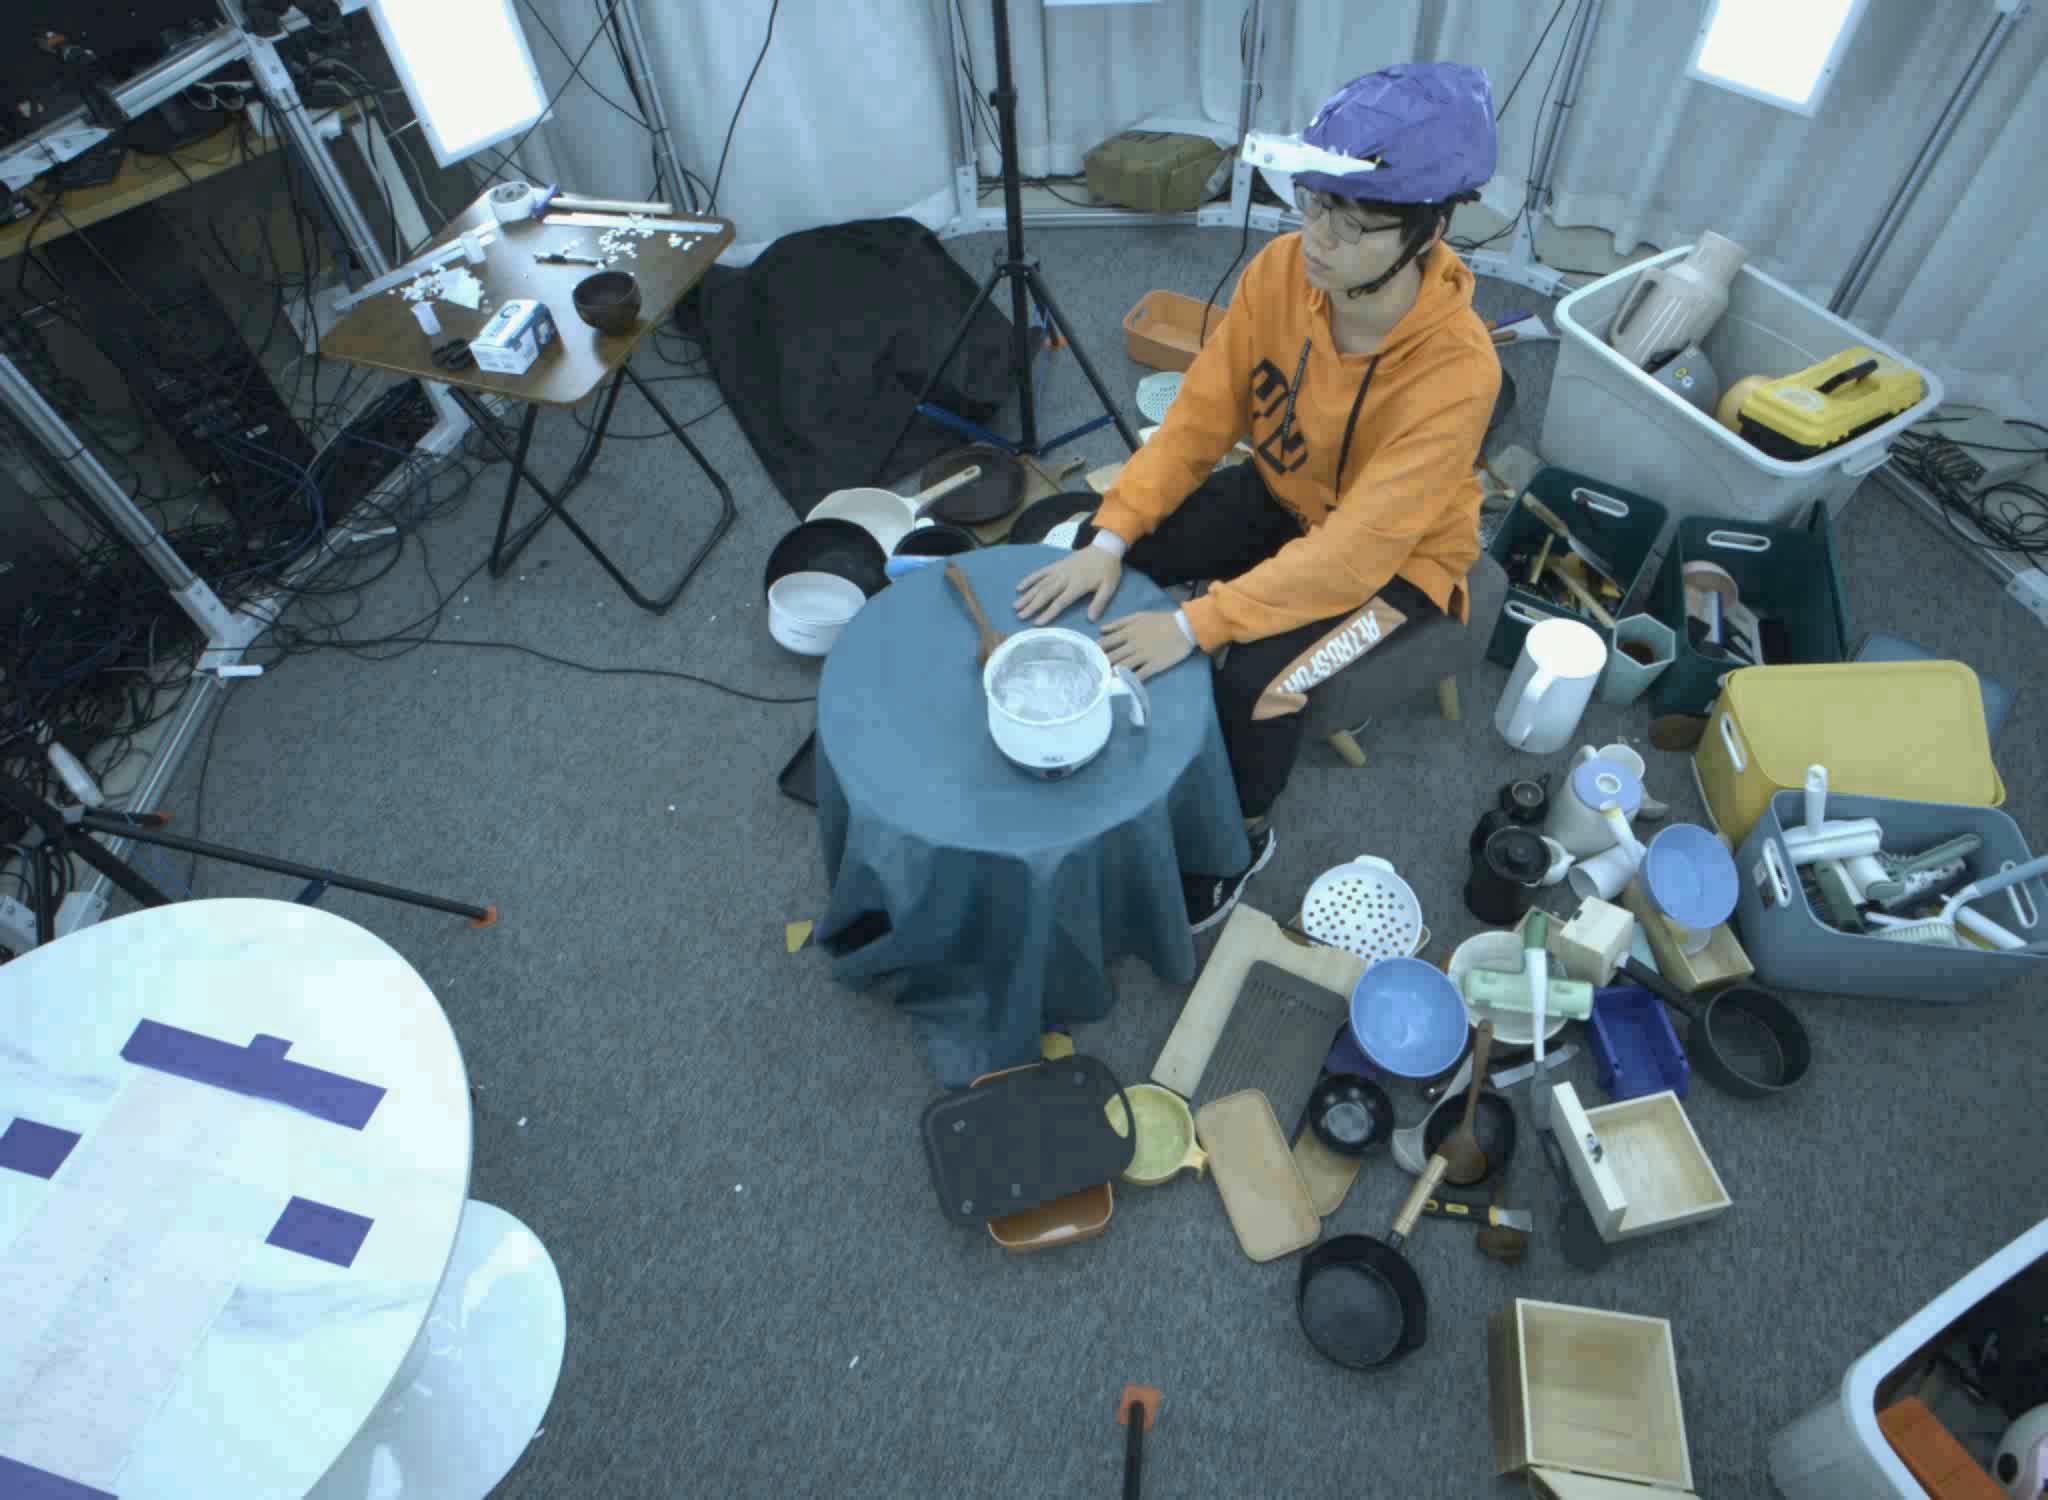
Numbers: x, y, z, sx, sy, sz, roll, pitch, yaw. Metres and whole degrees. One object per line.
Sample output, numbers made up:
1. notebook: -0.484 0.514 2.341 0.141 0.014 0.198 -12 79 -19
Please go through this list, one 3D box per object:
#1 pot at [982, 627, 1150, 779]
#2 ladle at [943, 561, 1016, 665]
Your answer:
1. pot: 0.063 -0.069 1.748 0.234 0.138 0.176 -5 55 -1
2. ladle: -0.078 -0.225 1.910 0.077 0.066 0.255 -19 56 -12
